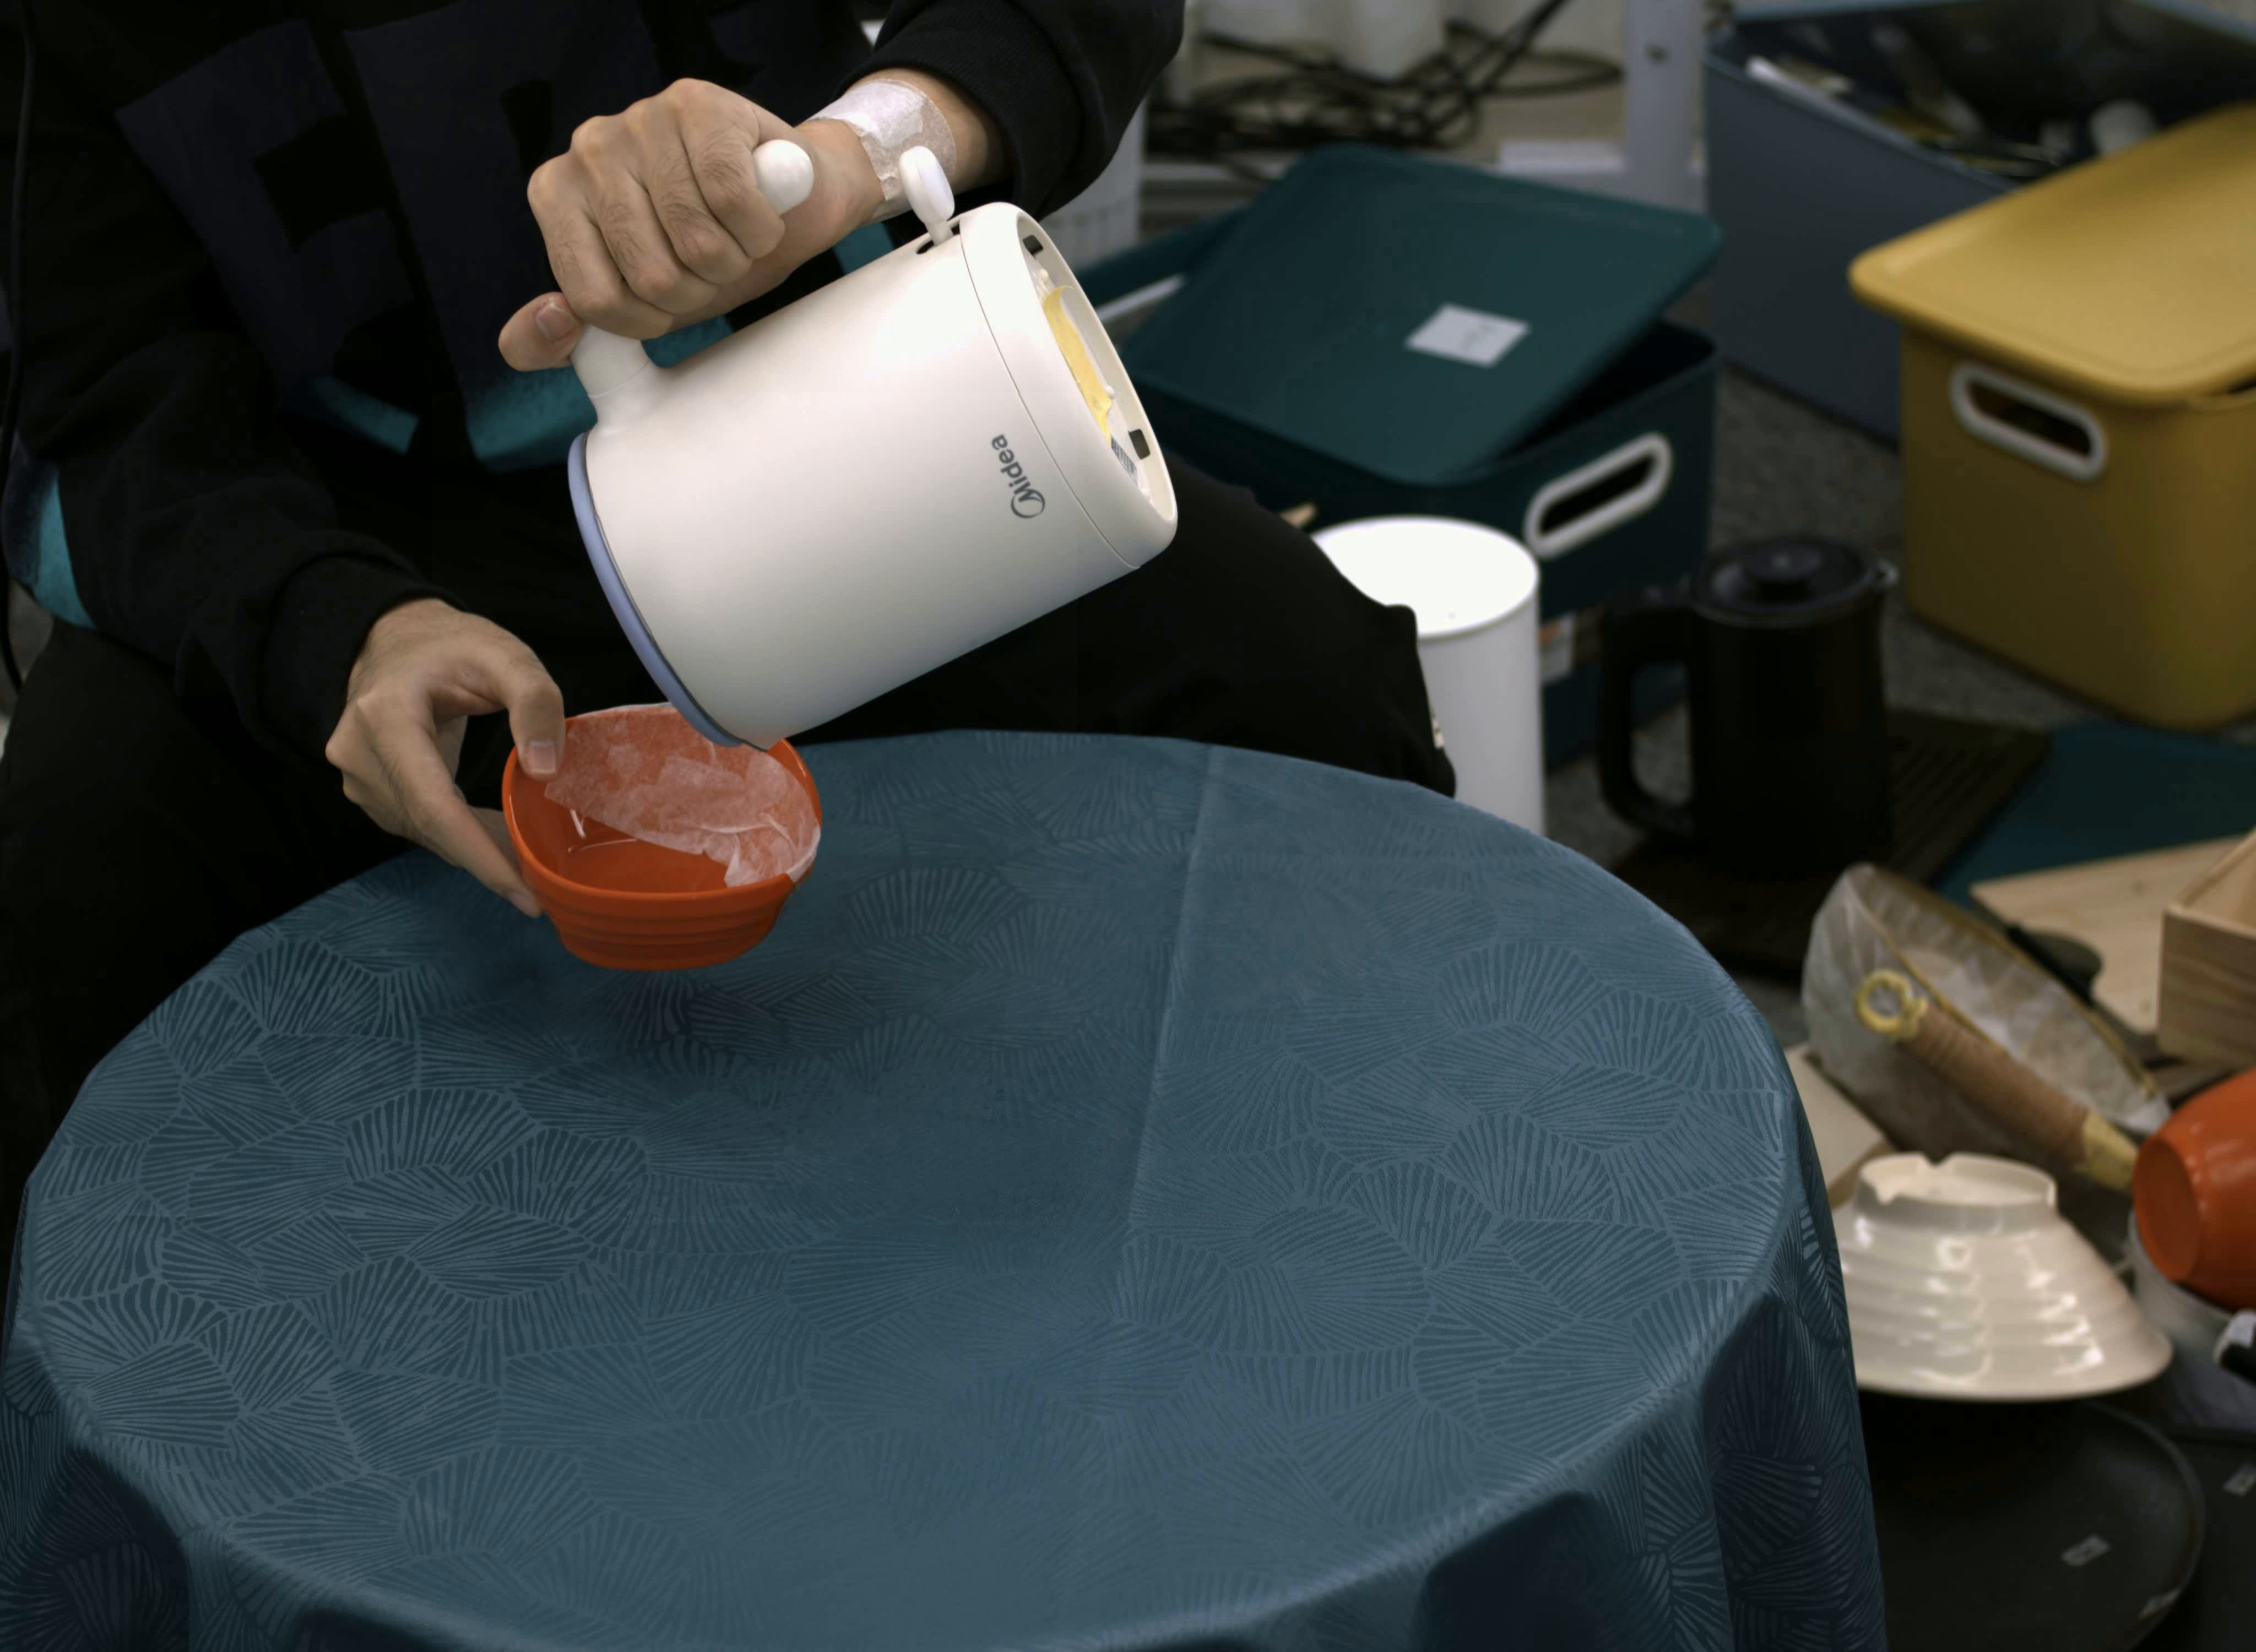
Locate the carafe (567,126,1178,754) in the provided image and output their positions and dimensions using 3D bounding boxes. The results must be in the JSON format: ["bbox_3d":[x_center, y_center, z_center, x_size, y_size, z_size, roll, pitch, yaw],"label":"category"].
[{"bbox_3d":[-0.095,-0.137,1.877,0.181,0.190,0.134,-24,19,7],"label":"carafe"}]

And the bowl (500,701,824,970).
[{"bbox_3d":[-0.162,0.009,1.951,0.118,0.050,0.121,4,37,-3],"label":"bowl"}]
